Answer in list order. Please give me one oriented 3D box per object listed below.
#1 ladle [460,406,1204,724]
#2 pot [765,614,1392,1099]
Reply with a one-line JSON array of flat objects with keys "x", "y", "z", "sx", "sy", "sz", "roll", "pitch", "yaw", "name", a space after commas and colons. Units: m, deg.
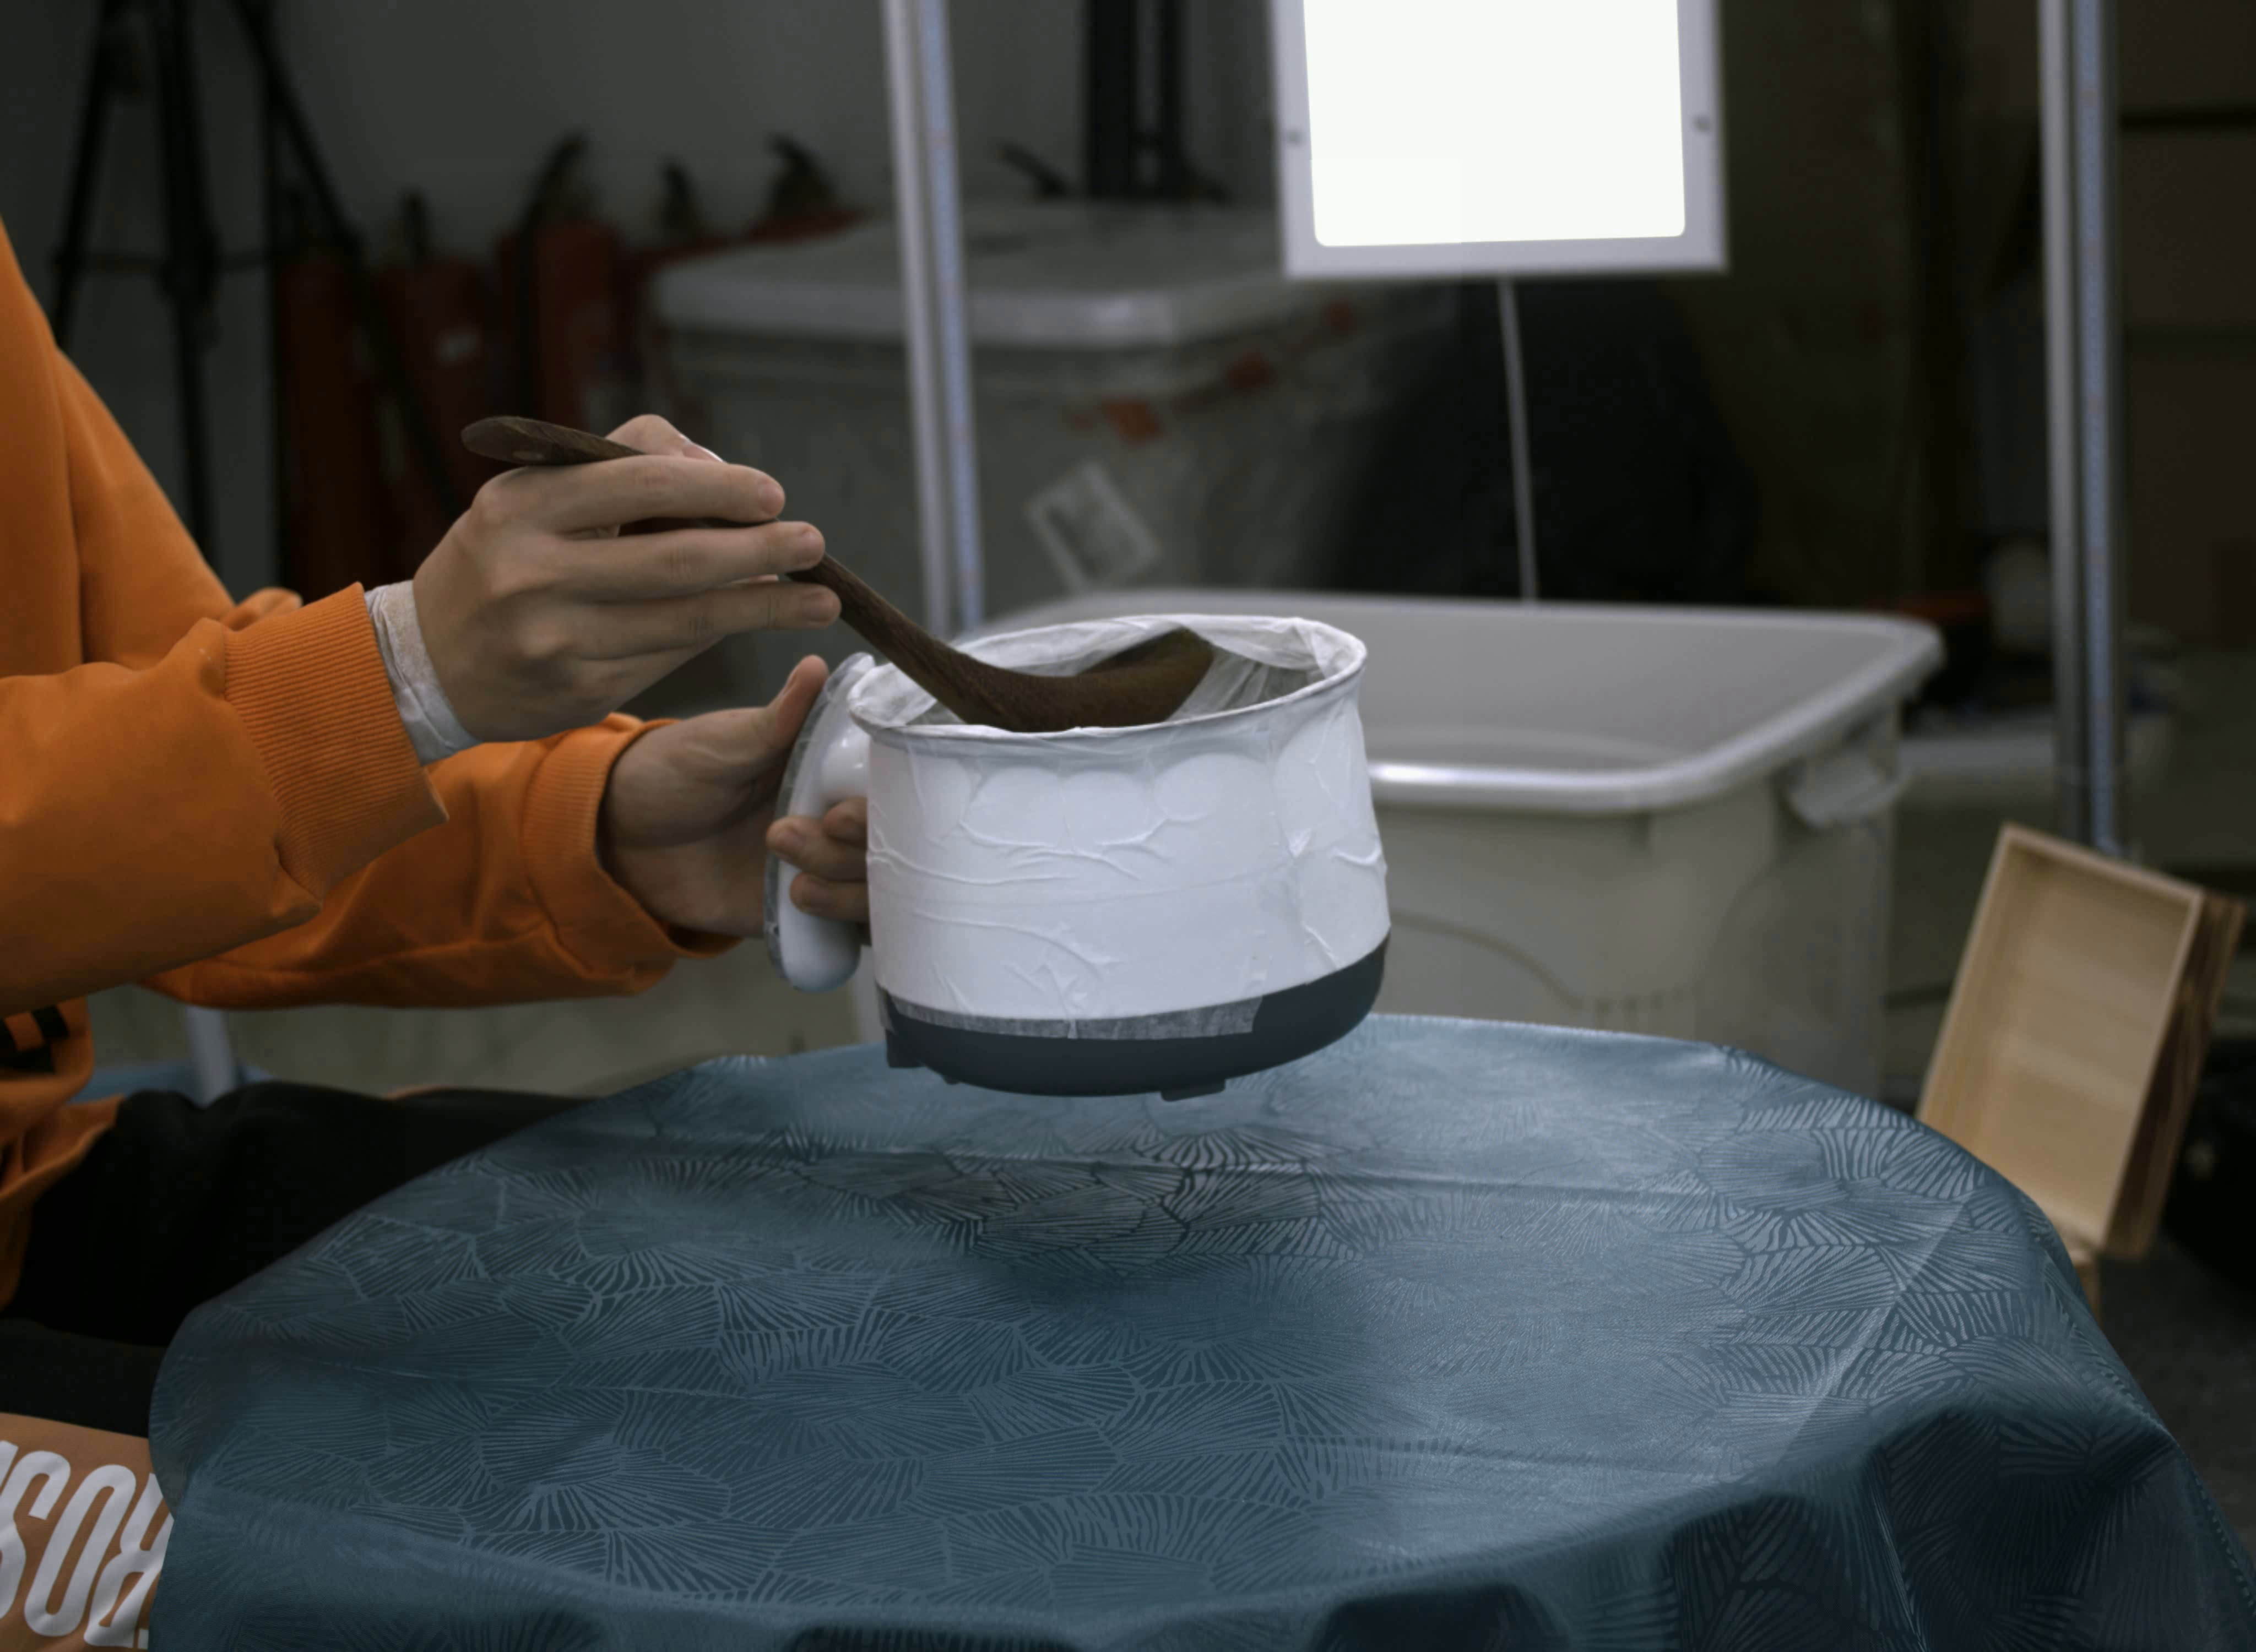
[{"x": -0.094, "y": -0.097, "z": 1.818, "sx": 0.270, "sy": 0.071, "sz": 0.078, "roll": 29, "pitch": -29, "yaw": -25, "name": "ladle"}, {"x": -0.025, "y": 0.008, "z": 1.878, "sx": 0.238, "sy": 0.137, "sz": 0.175, "roll": 2, "pitch": 15, "yaw": 30, "name": "pot"}]
